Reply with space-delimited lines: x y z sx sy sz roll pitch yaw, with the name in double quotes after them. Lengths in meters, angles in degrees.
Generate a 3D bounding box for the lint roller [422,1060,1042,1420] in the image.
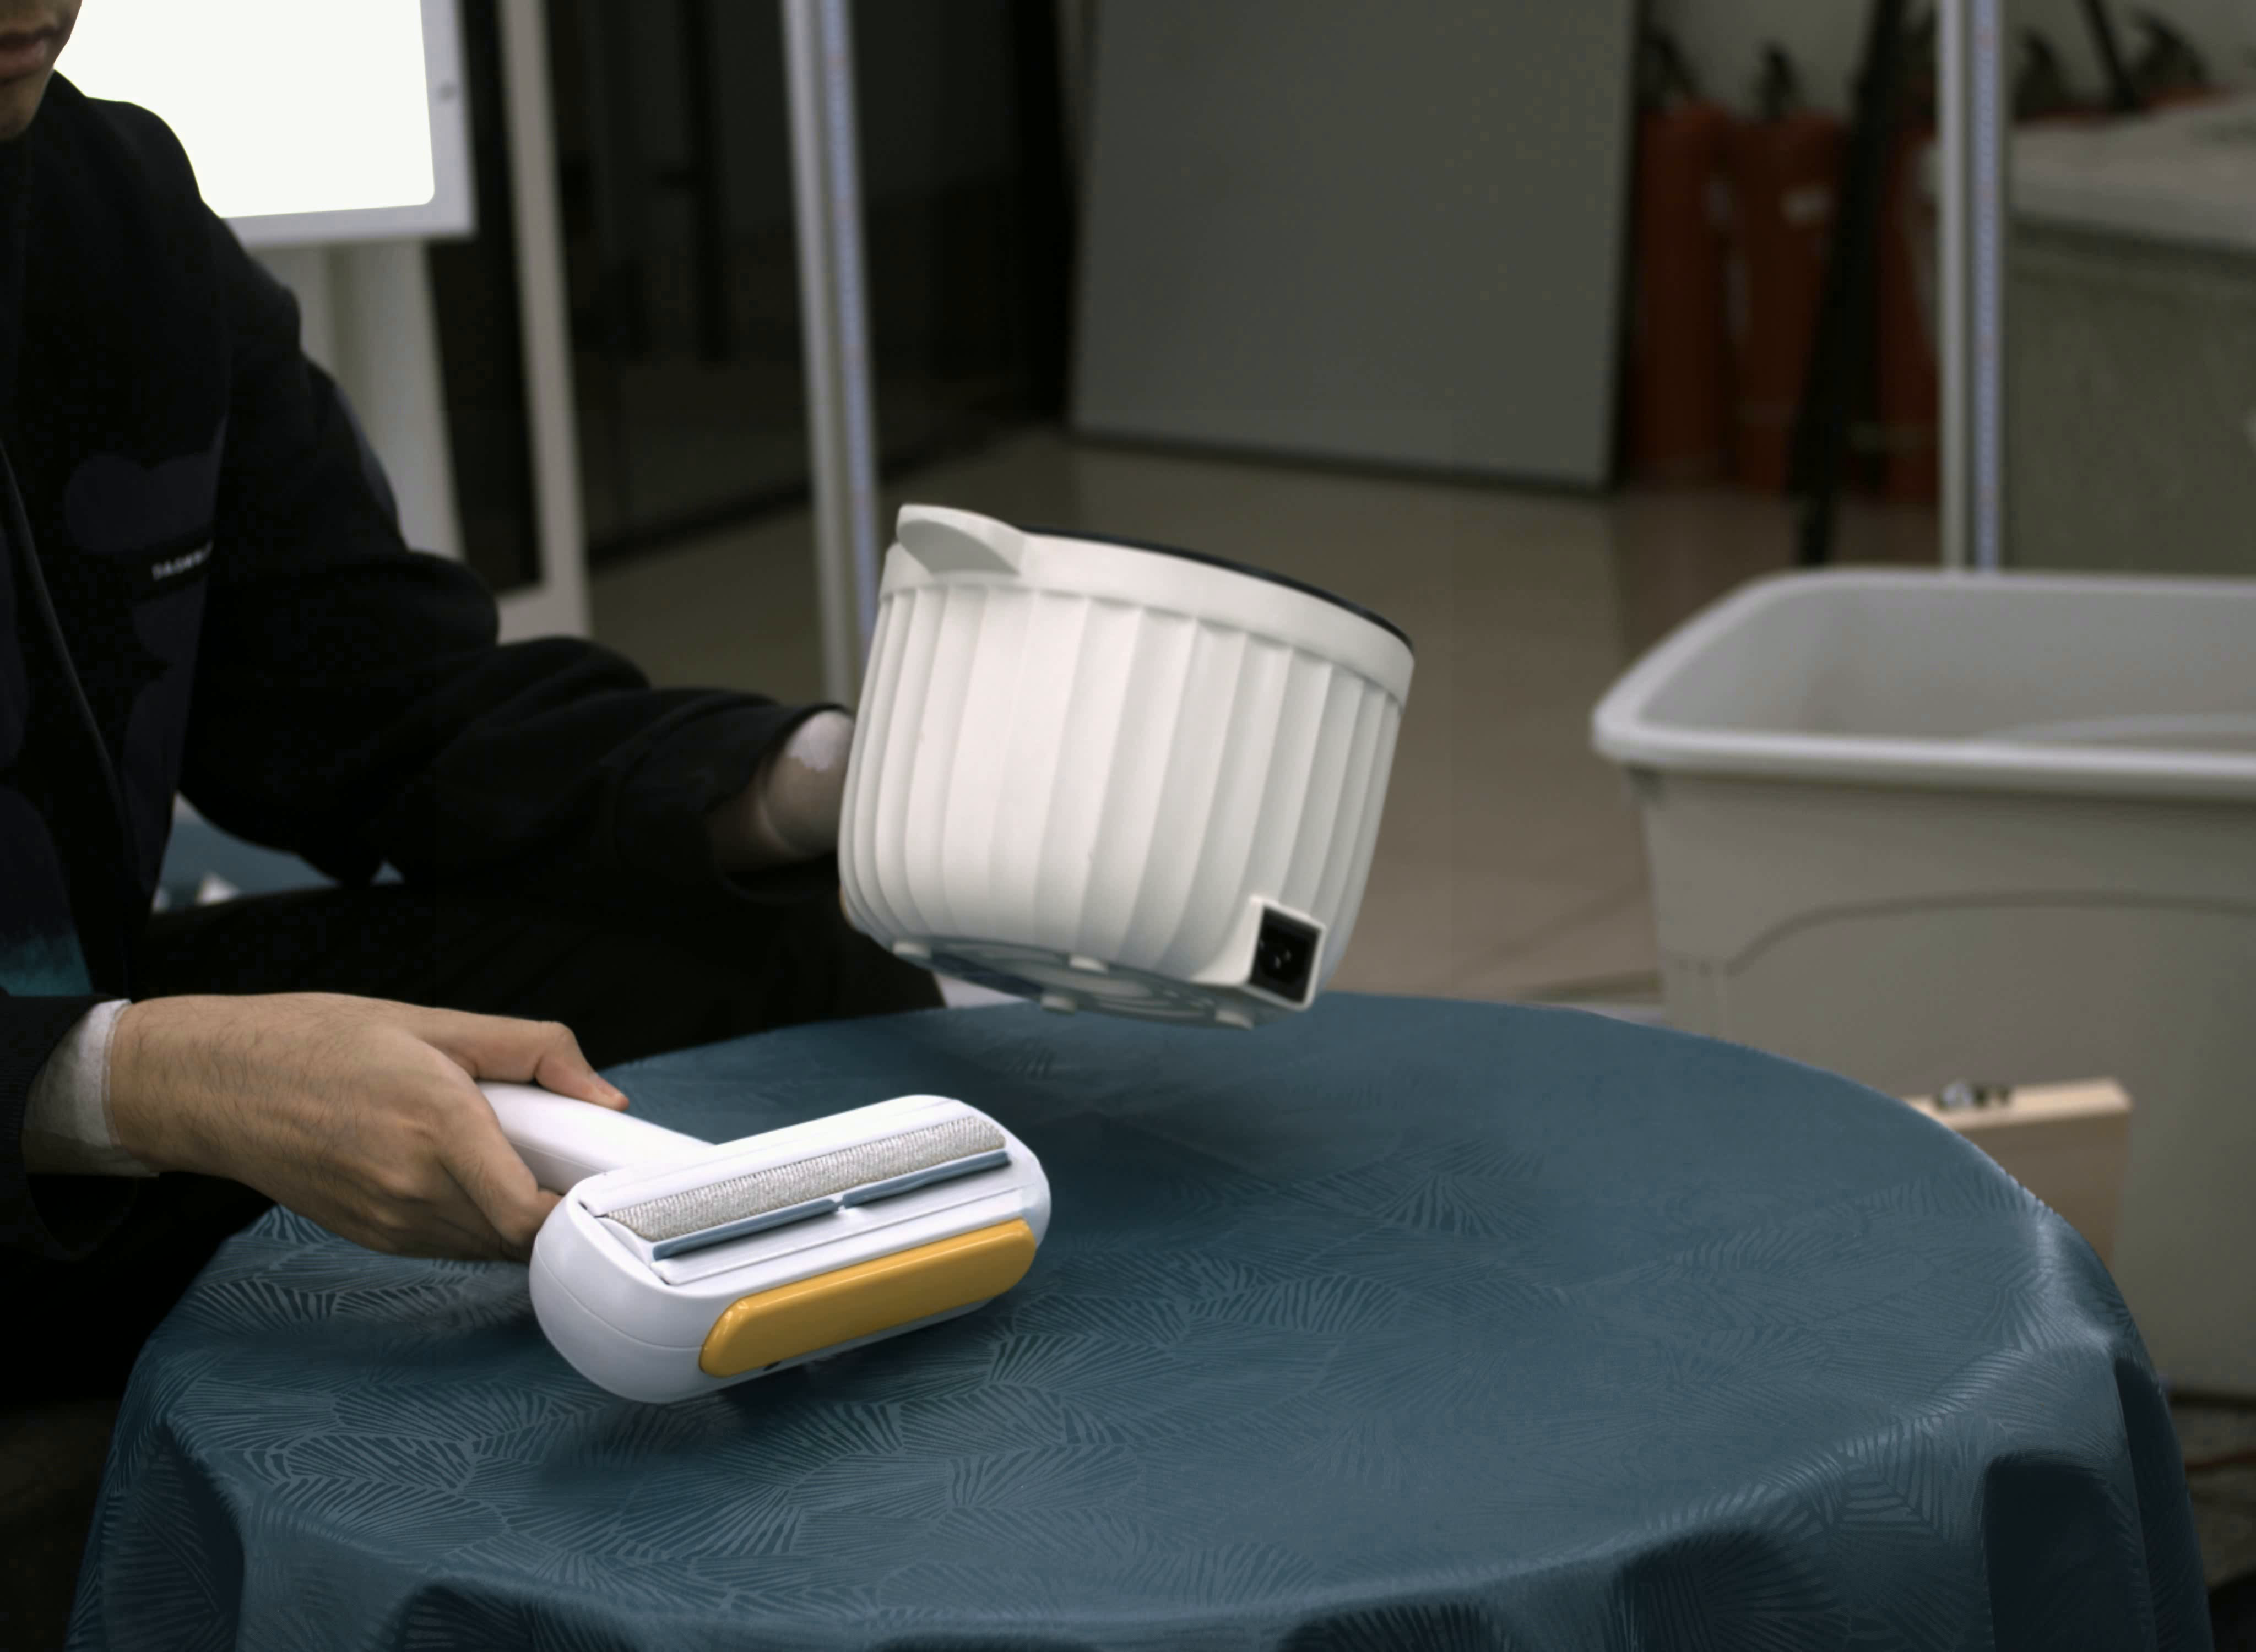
-0.145 0.108 1.652 0.189 0.075 0.194 -14 35 -43 "lint roller"

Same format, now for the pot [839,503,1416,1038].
-0.009 -0.011 1.794 0.192 0.144 0.236 6 -13 41 "pot"
